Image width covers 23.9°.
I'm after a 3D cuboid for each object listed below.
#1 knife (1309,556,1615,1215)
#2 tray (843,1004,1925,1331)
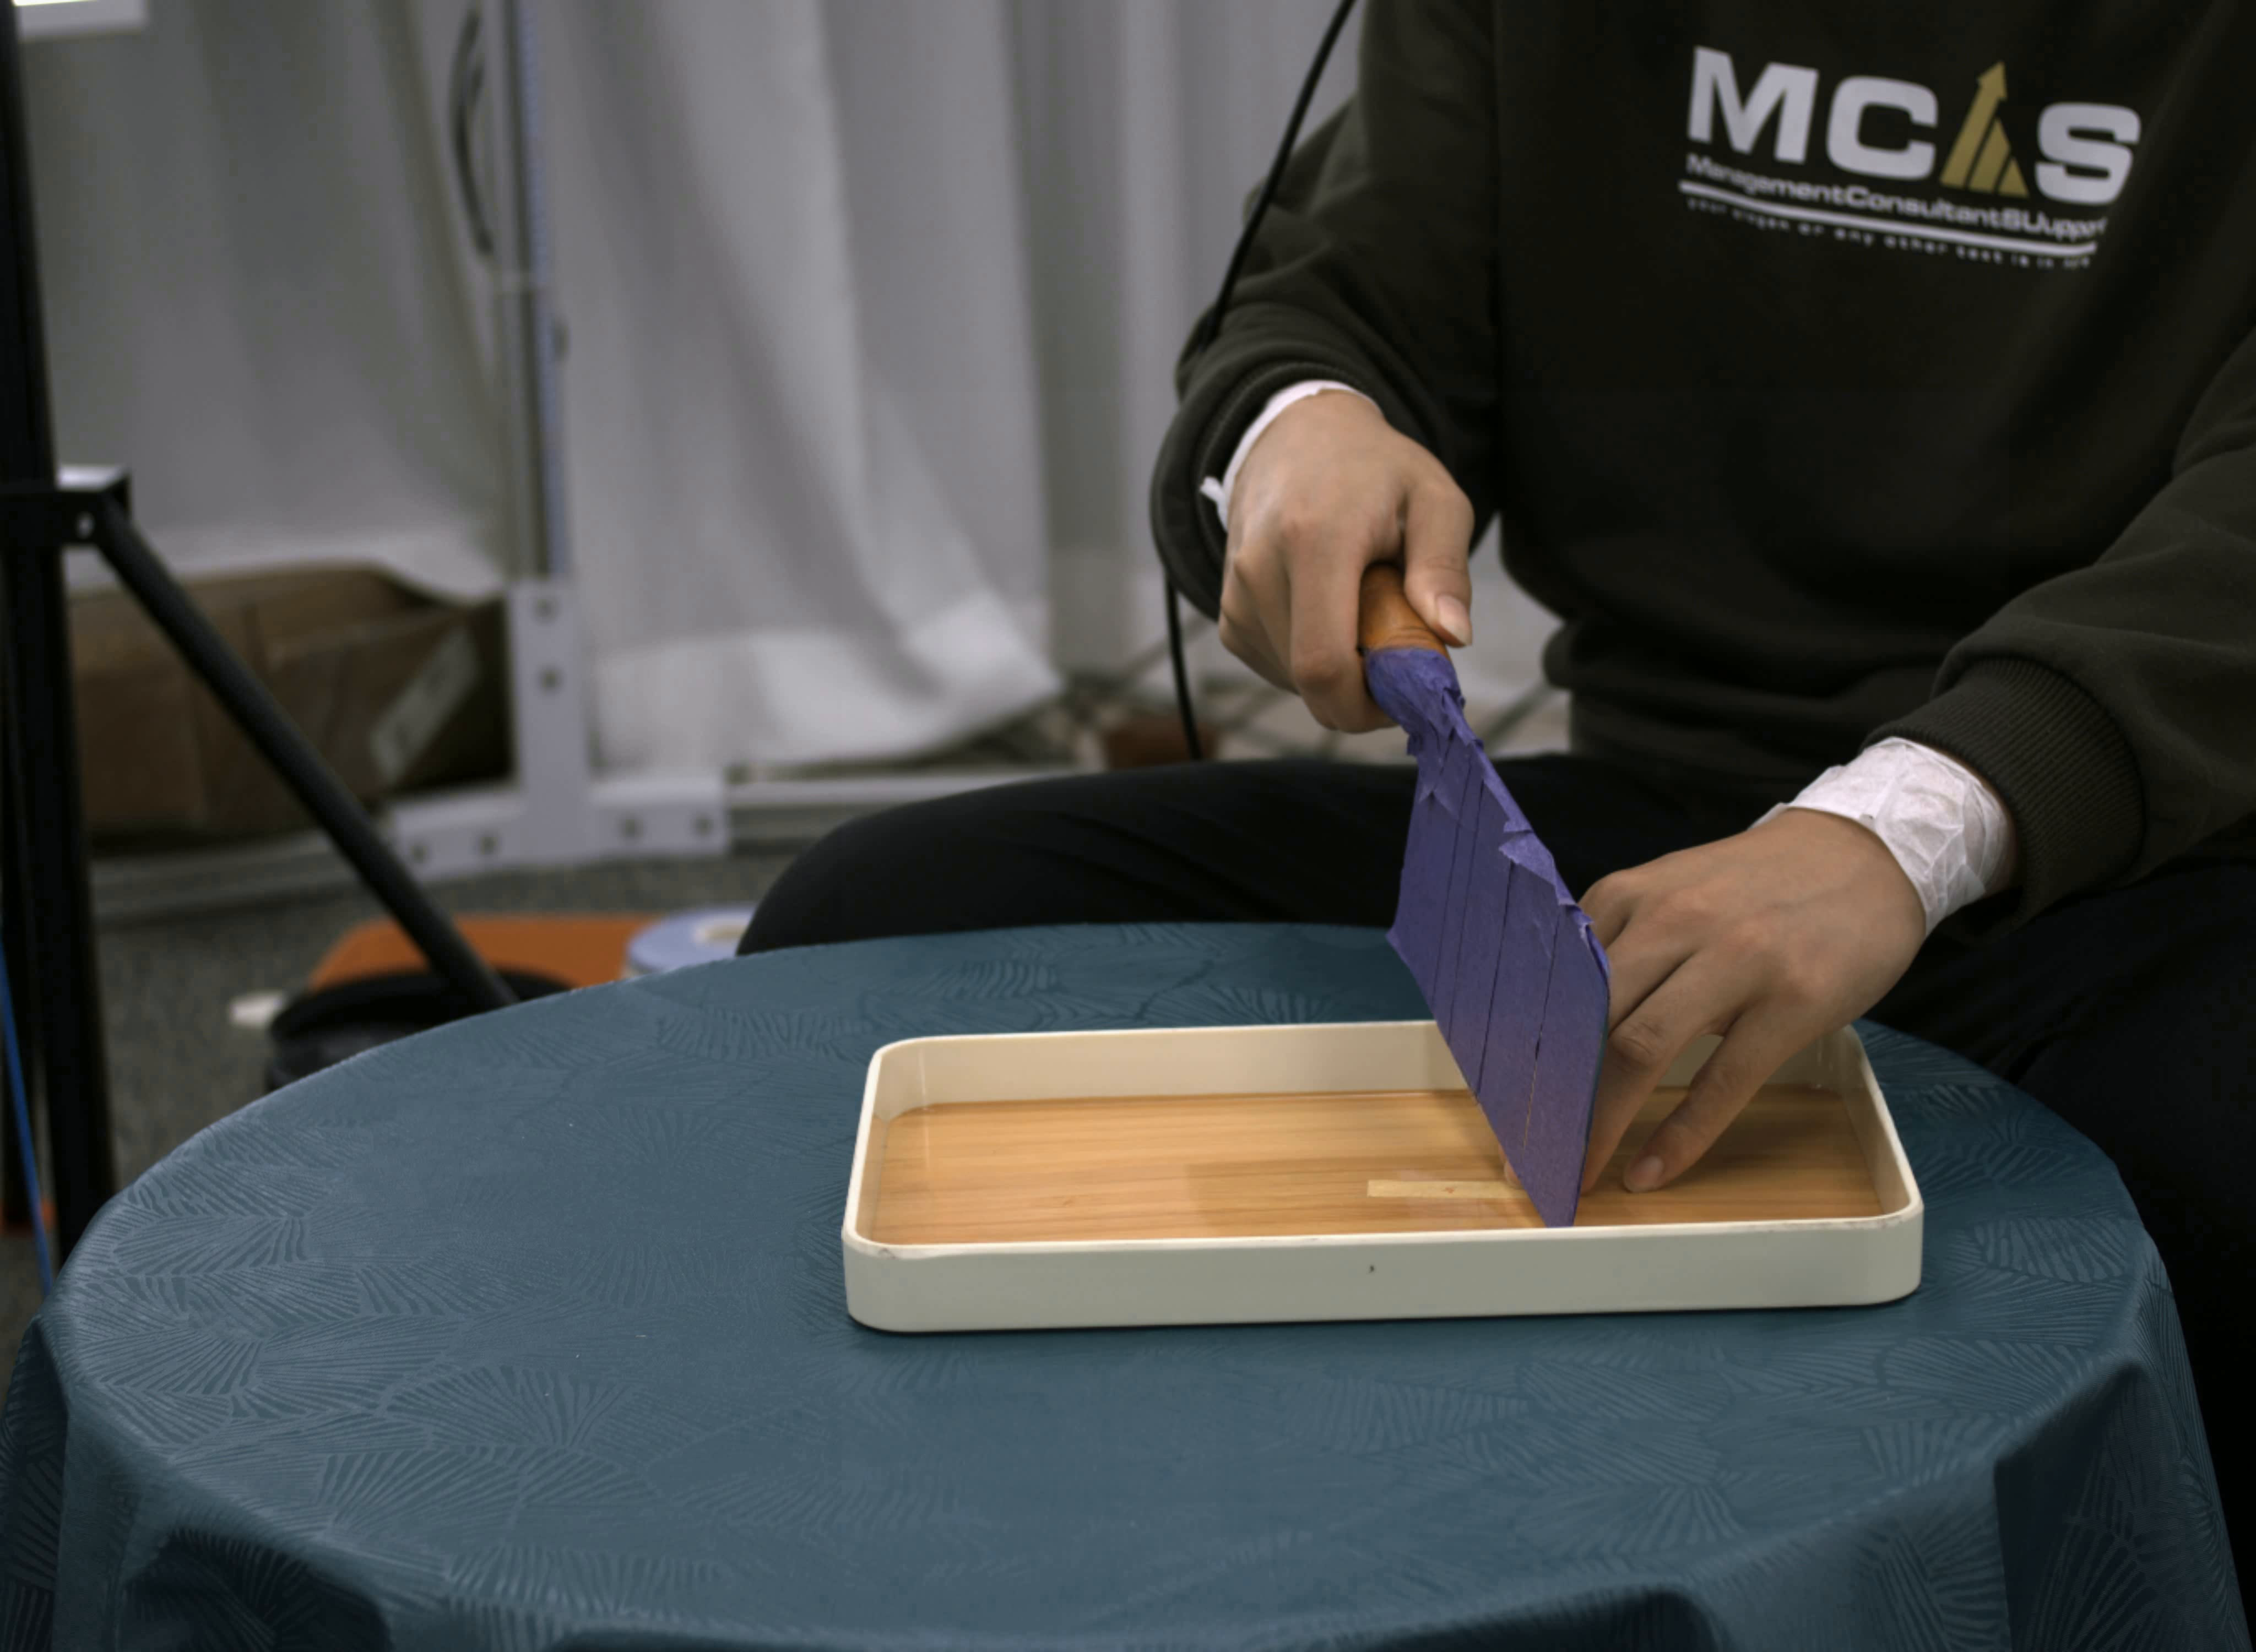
[{"bbox_3d":[0.094,0.014,1.588,0.032,0.104,0.319,5,22,-12],"label":"knife"},{"bbox_3d":[0.071,0.098,1.536,0.299,0.027,0.192,-2,16,3],"label":"tray"}]
